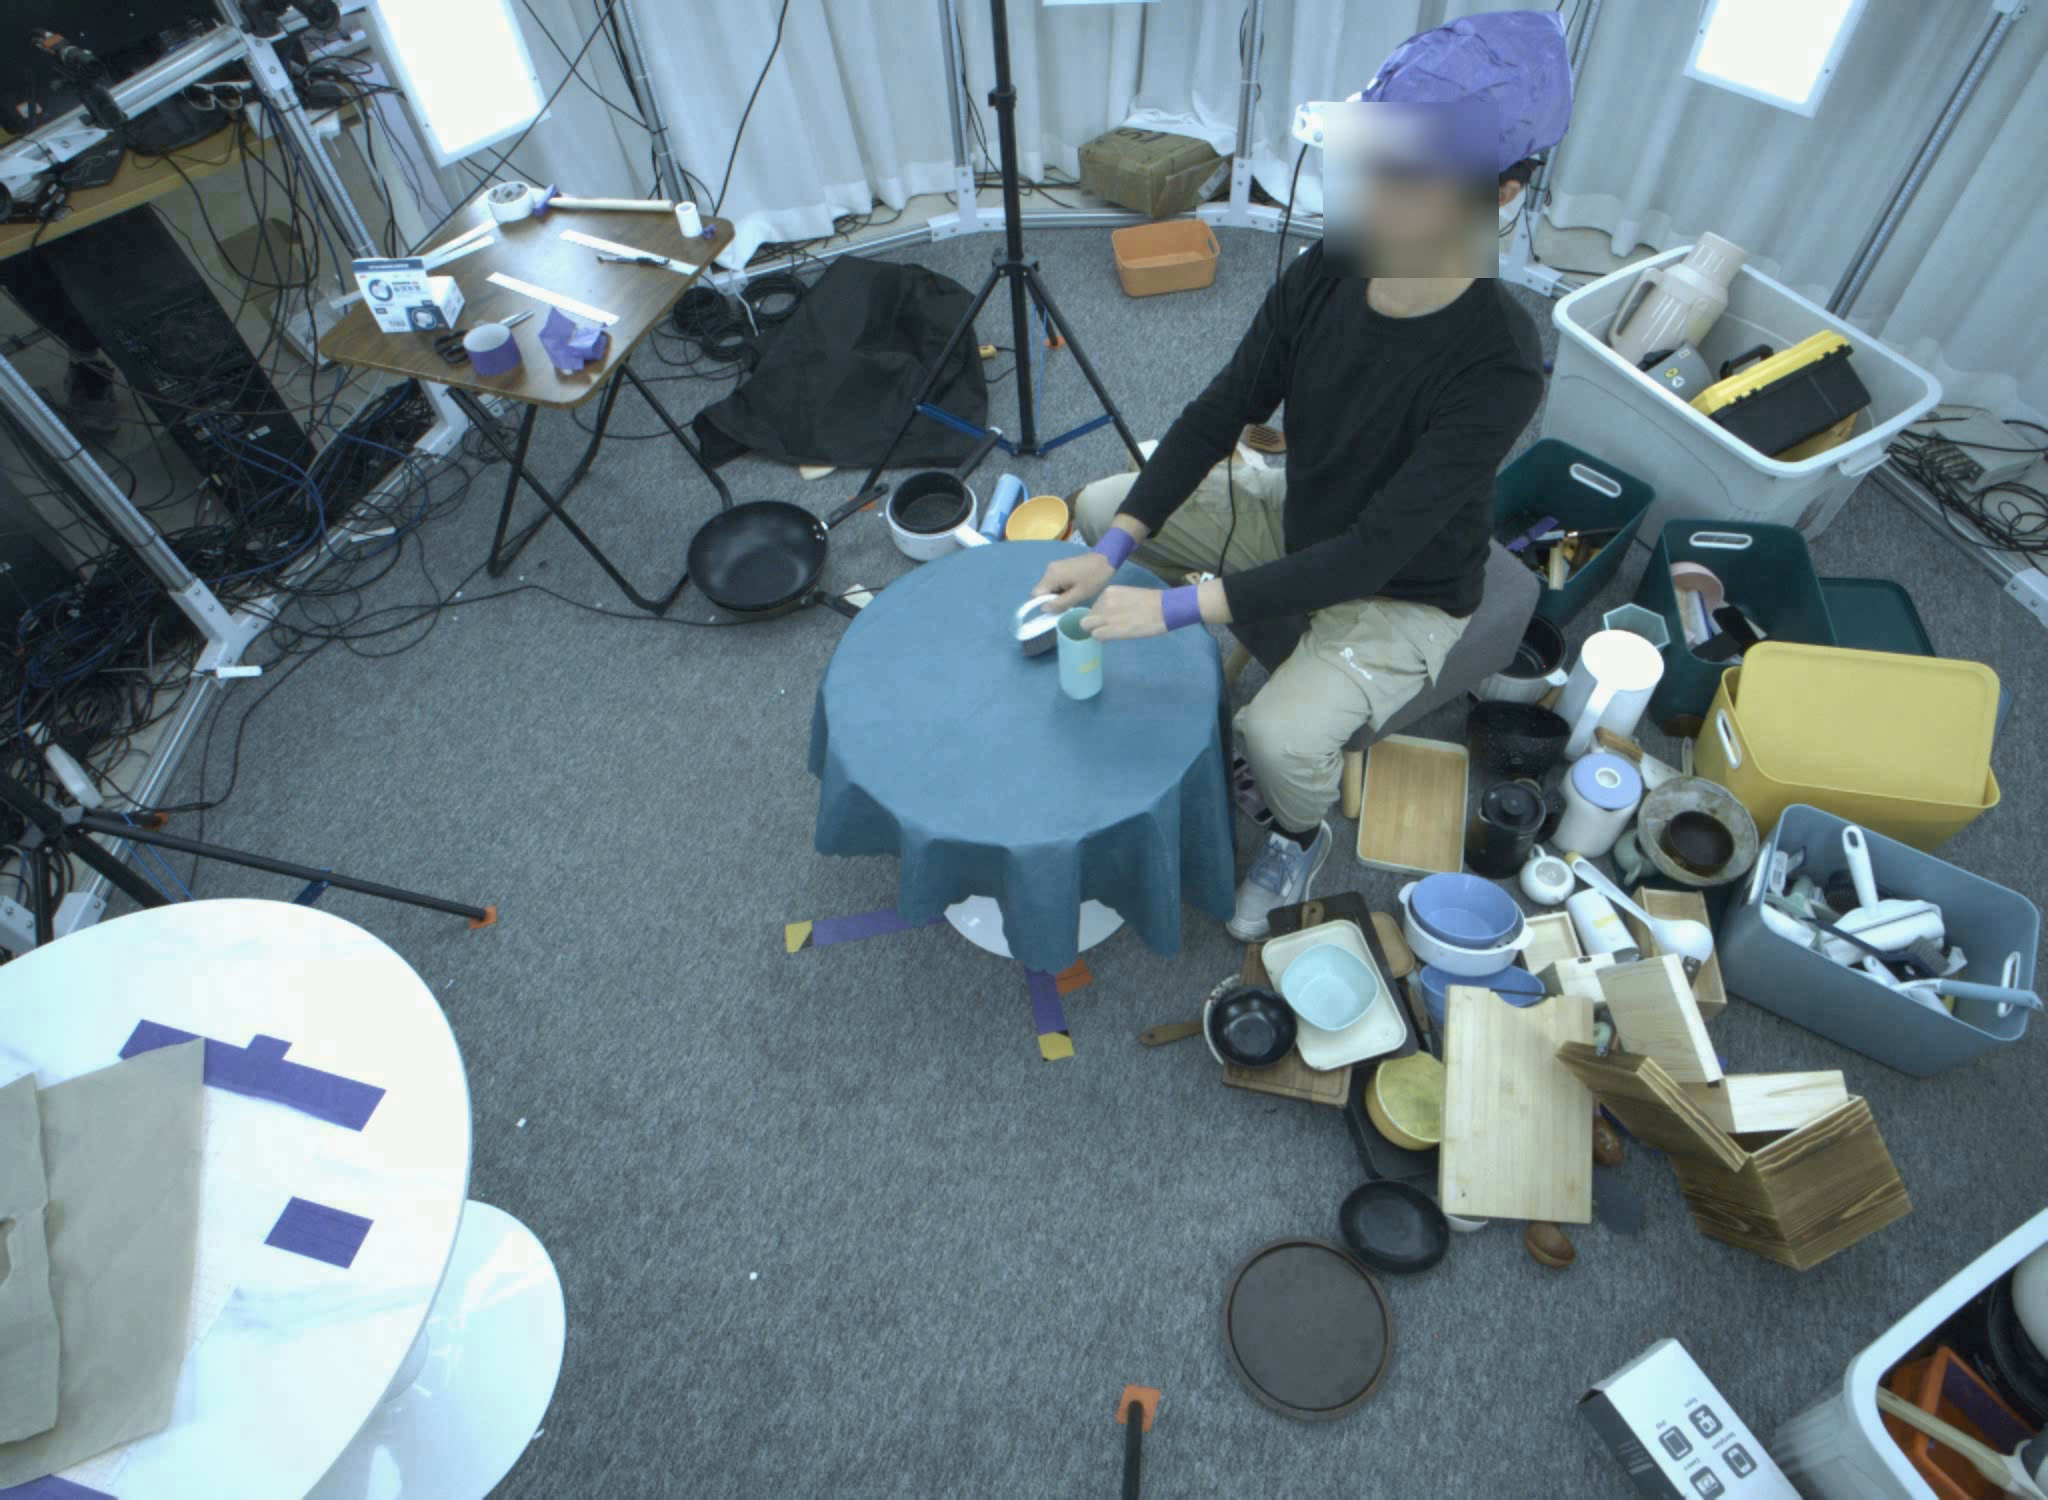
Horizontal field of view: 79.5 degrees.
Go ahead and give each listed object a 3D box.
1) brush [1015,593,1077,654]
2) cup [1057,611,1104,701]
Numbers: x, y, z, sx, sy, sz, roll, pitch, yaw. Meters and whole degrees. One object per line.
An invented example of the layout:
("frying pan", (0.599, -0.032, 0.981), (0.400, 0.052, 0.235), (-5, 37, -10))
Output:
("brush", (0.033, -0.199, 1.876), (0.099, 0.073, 0.049), (-27, 23, -7))
("cup", (0.084, -0.138, 1.809), (0.066, 0.134, 0.066), (-2, 54, 3))
